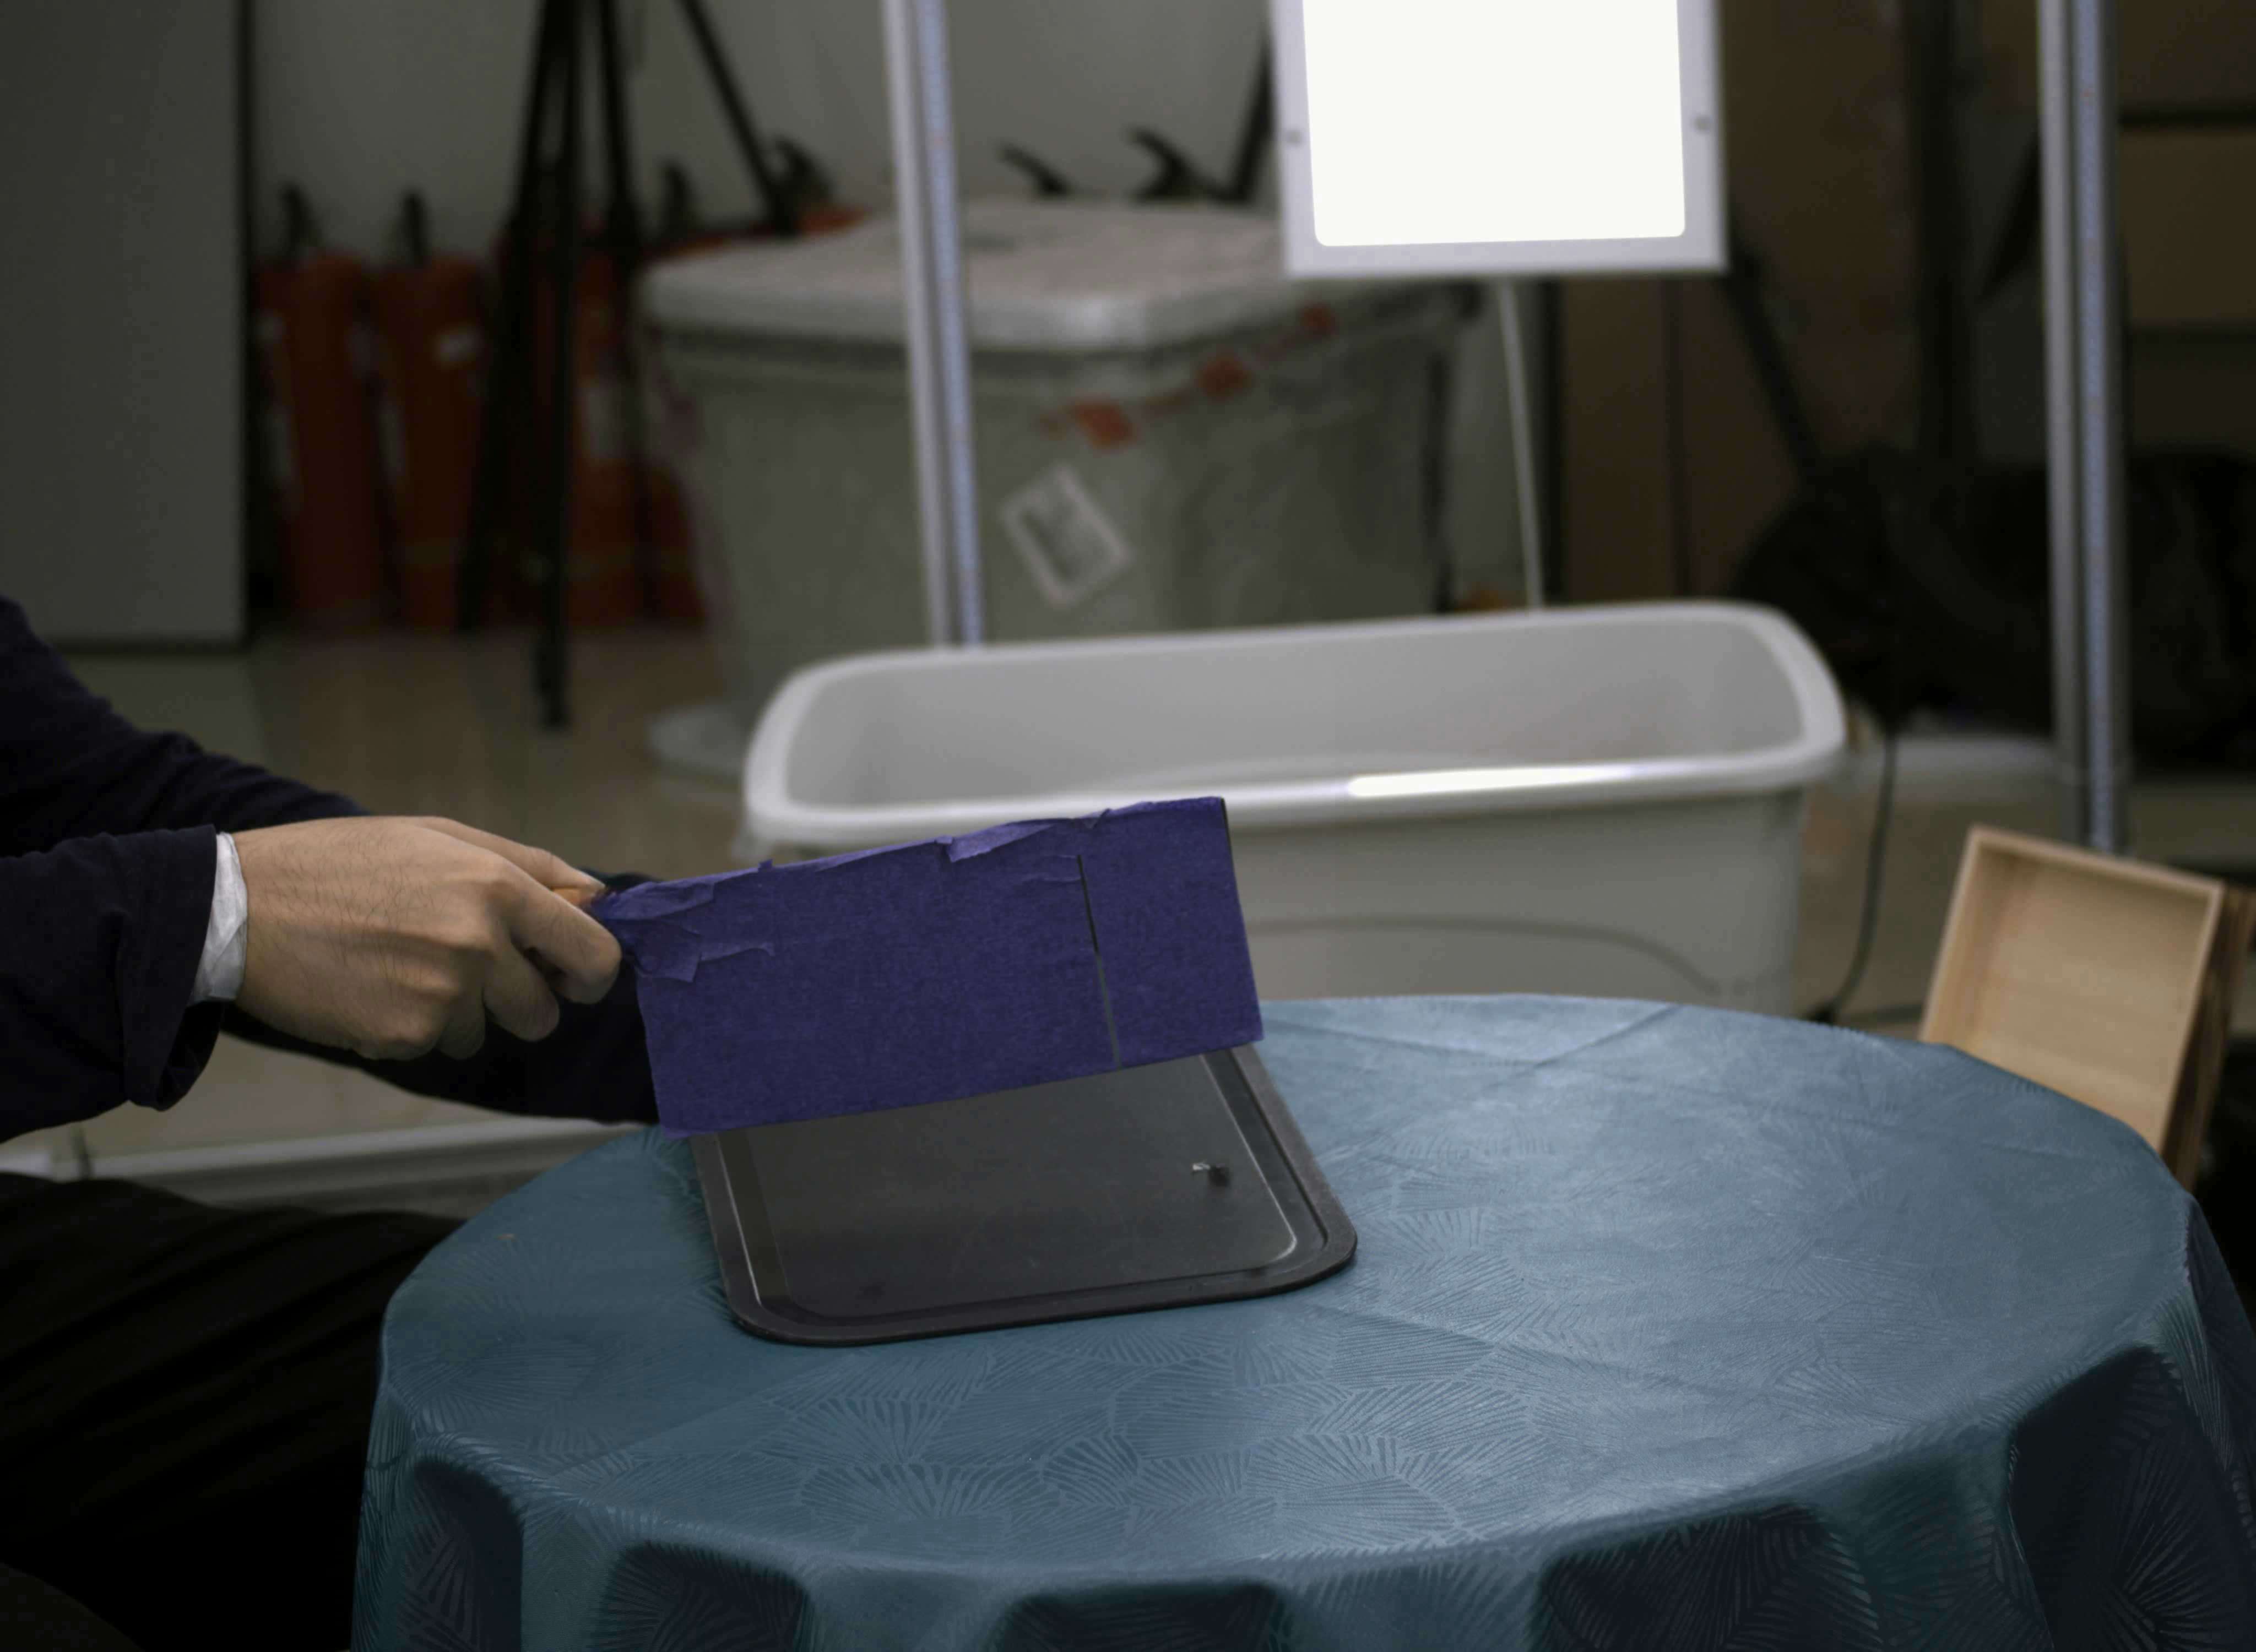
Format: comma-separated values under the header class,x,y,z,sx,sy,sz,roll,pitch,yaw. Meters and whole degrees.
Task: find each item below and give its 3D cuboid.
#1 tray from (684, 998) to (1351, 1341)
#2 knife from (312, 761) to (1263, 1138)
class,x,y,z,sx,sy,sz,roll,pitch,yaw
tray,-0.047,0.109,1.926,0.209,0.010,0.326,-7,18,-6
knife,-0.112,0.055,1.855,0.314,0.104,0.032,-10,11,1
